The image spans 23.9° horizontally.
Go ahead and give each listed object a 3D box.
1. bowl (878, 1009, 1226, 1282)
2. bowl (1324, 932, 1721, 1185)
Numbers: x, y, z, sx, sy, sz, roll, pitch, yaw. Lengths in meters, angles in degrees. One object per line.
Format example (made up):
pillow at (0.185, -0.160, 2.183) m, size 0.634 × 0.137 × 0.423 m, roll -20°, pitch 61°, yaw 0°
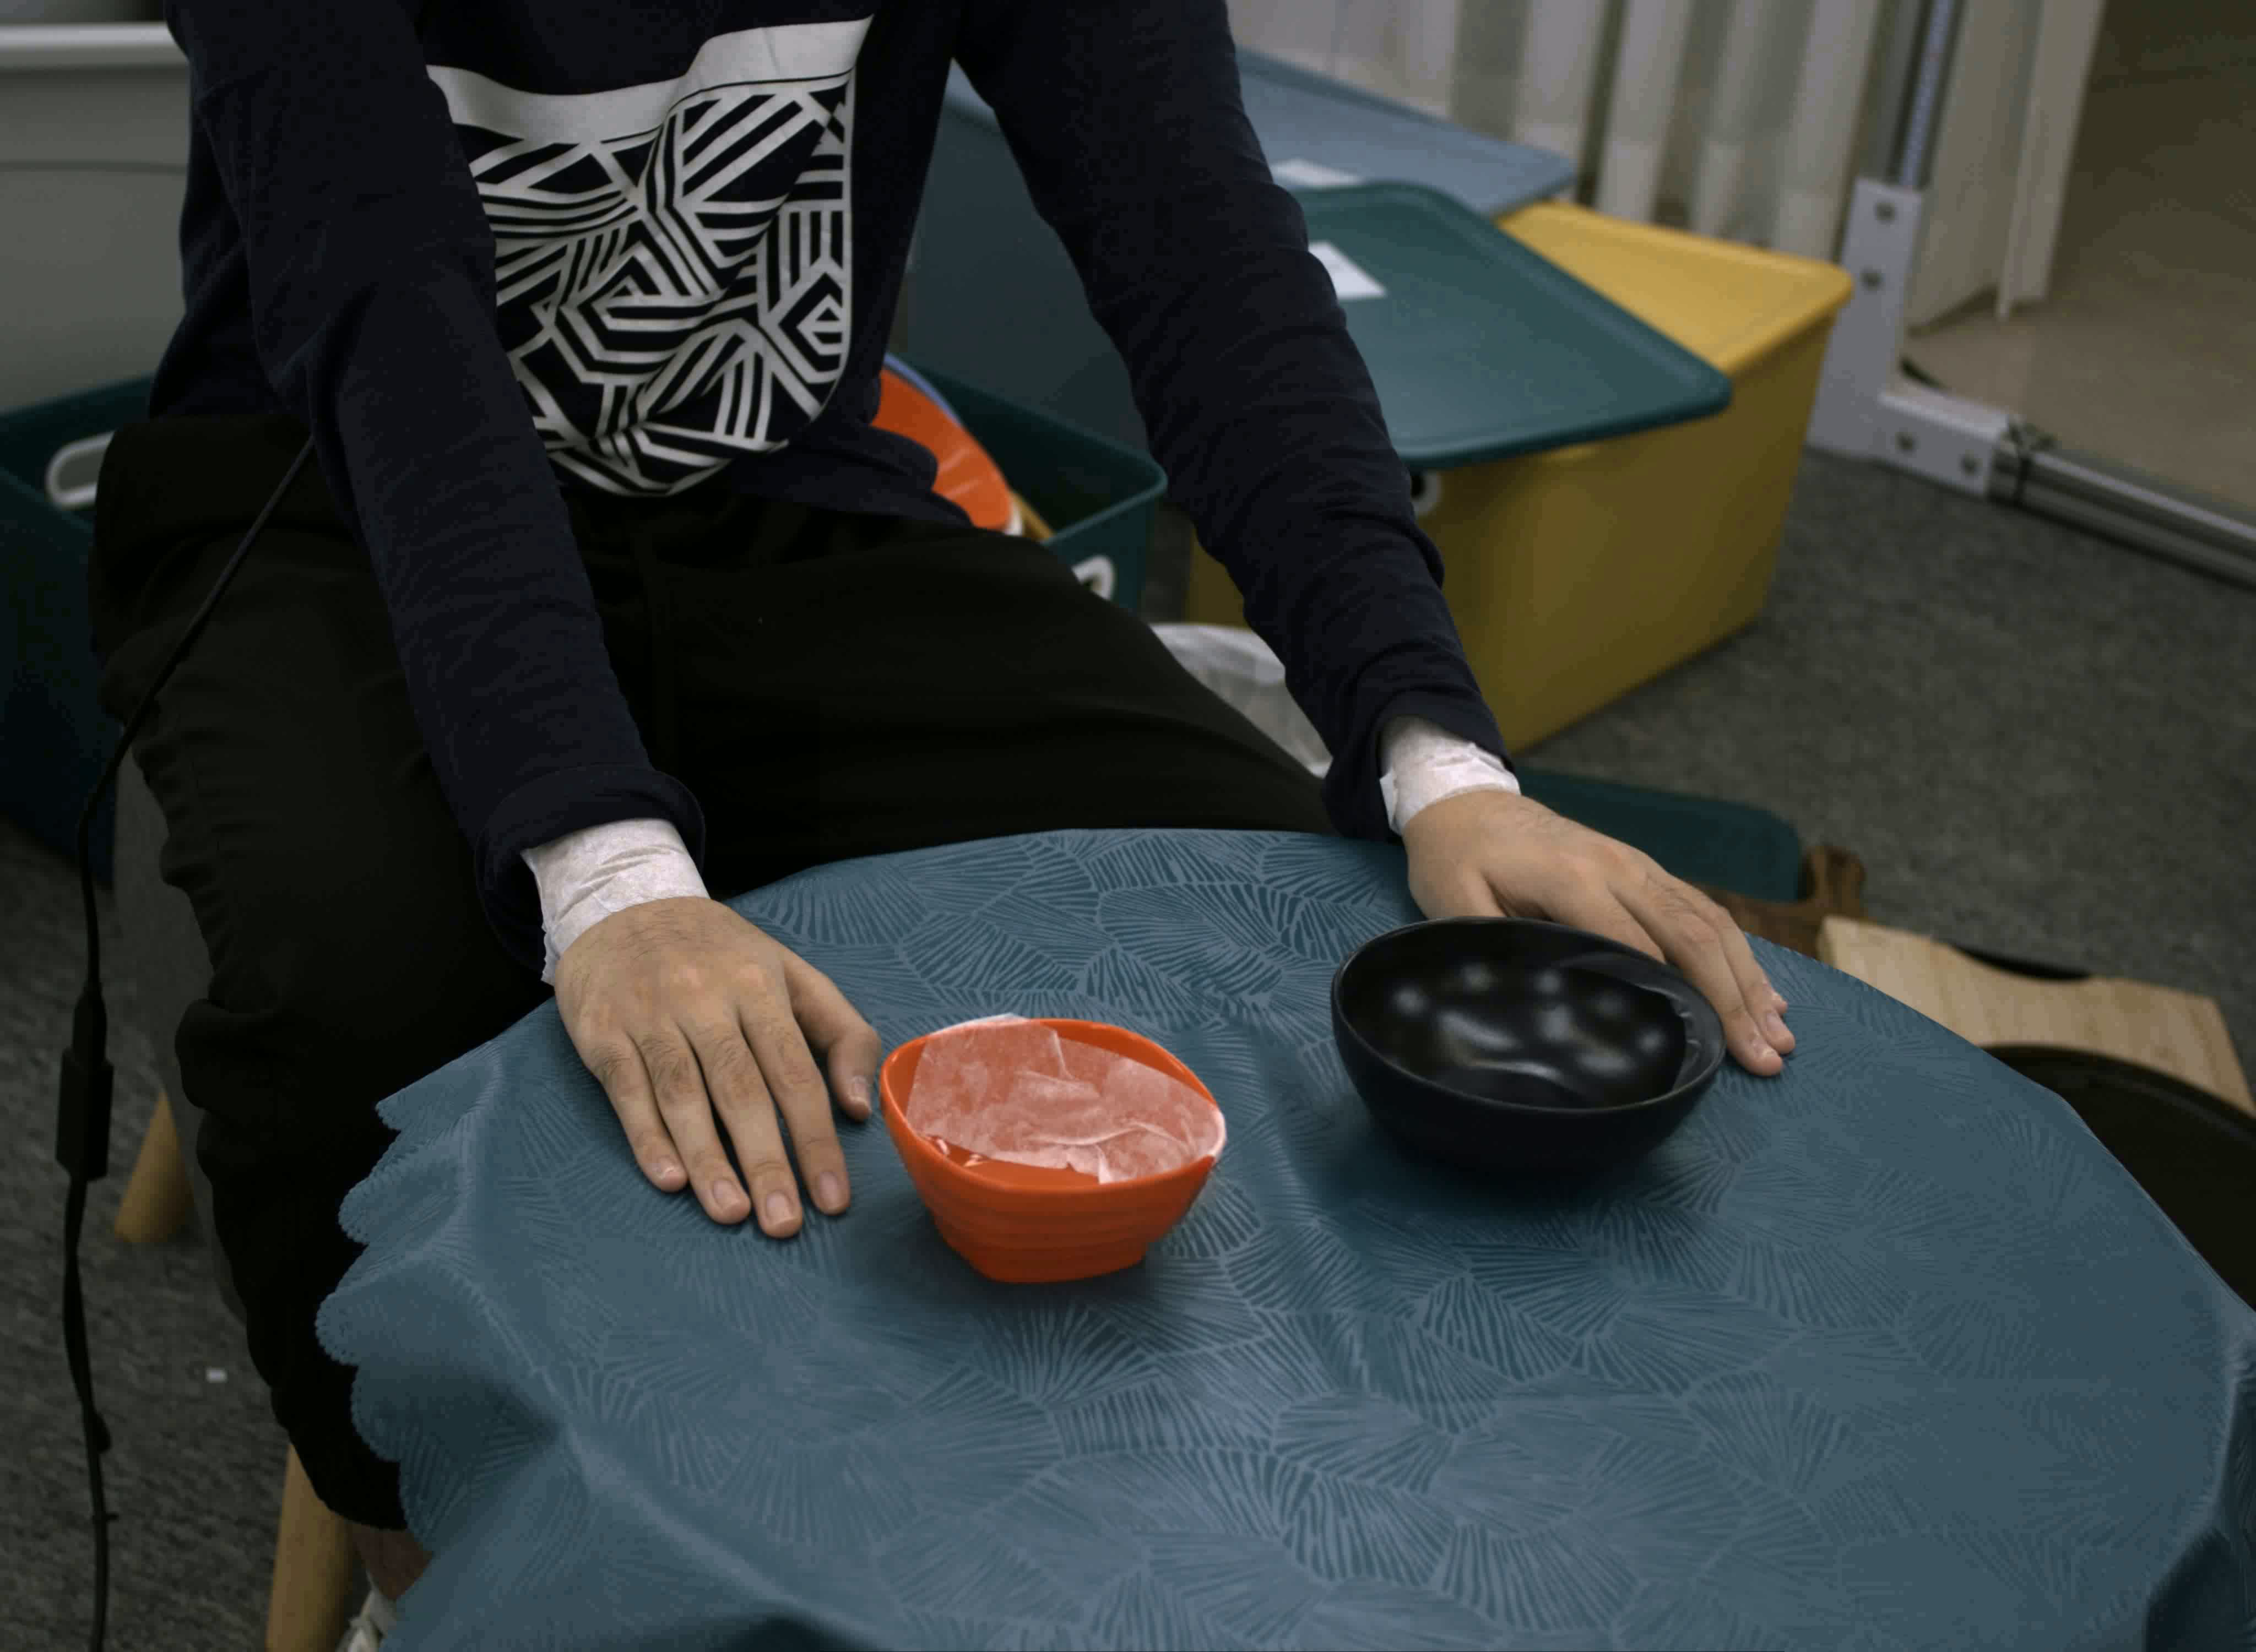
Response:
bowl at (-0.028, 0.111, 1.767) m, size 0.118 × 0.051 × 0.119 m, roll 5°, pitch 29°, yaw -3°
bowl at (0.136, 0.088, 1.859) m, size 0.139 × 0.049 × 0.141 m, roll 4°, pitch 23°, yaw -2°
